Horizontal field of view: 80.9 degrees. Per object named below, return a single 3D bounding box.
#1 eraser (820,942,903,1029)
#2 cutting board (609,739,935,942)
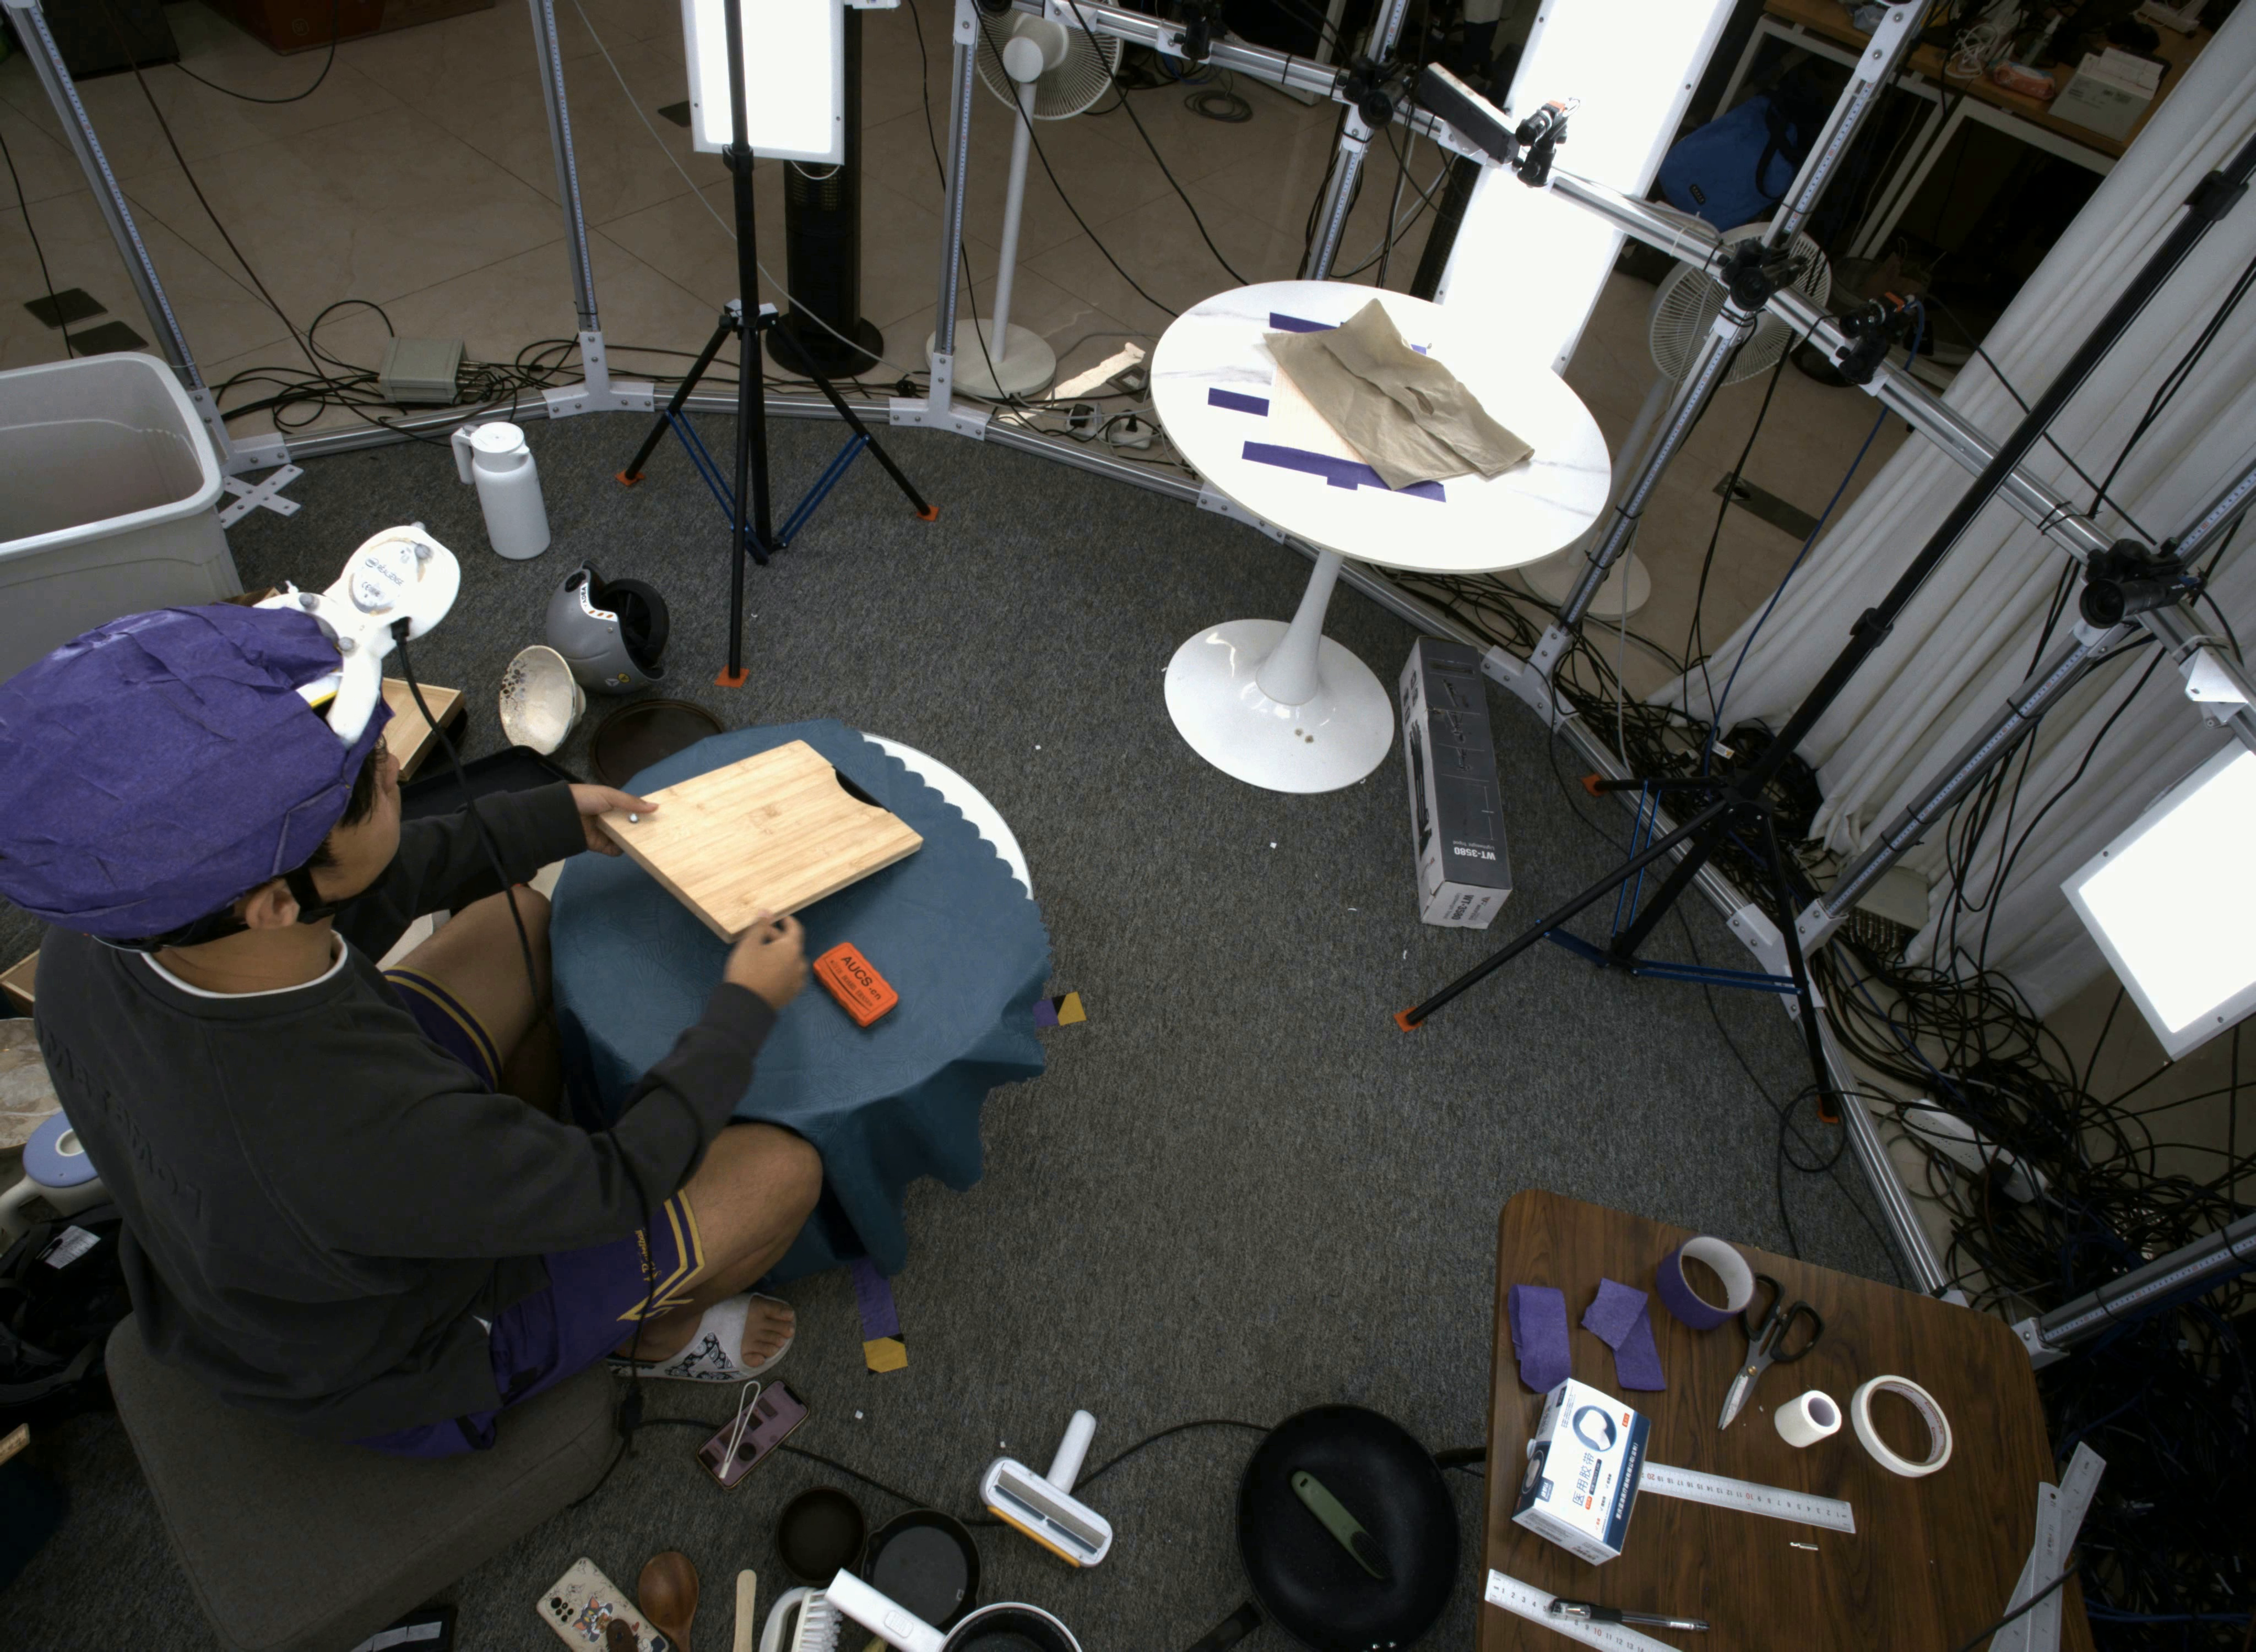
[{"bbox_3d":[-0.328,0.192,1.594,0.059,0.023,0.105,-33,67,-32],"label":"eraser"},{"bbox_3d":[-0.445,0.005,1.638,0.246,0.024,0.350,38,34,14],"label":"cutting board"}]
